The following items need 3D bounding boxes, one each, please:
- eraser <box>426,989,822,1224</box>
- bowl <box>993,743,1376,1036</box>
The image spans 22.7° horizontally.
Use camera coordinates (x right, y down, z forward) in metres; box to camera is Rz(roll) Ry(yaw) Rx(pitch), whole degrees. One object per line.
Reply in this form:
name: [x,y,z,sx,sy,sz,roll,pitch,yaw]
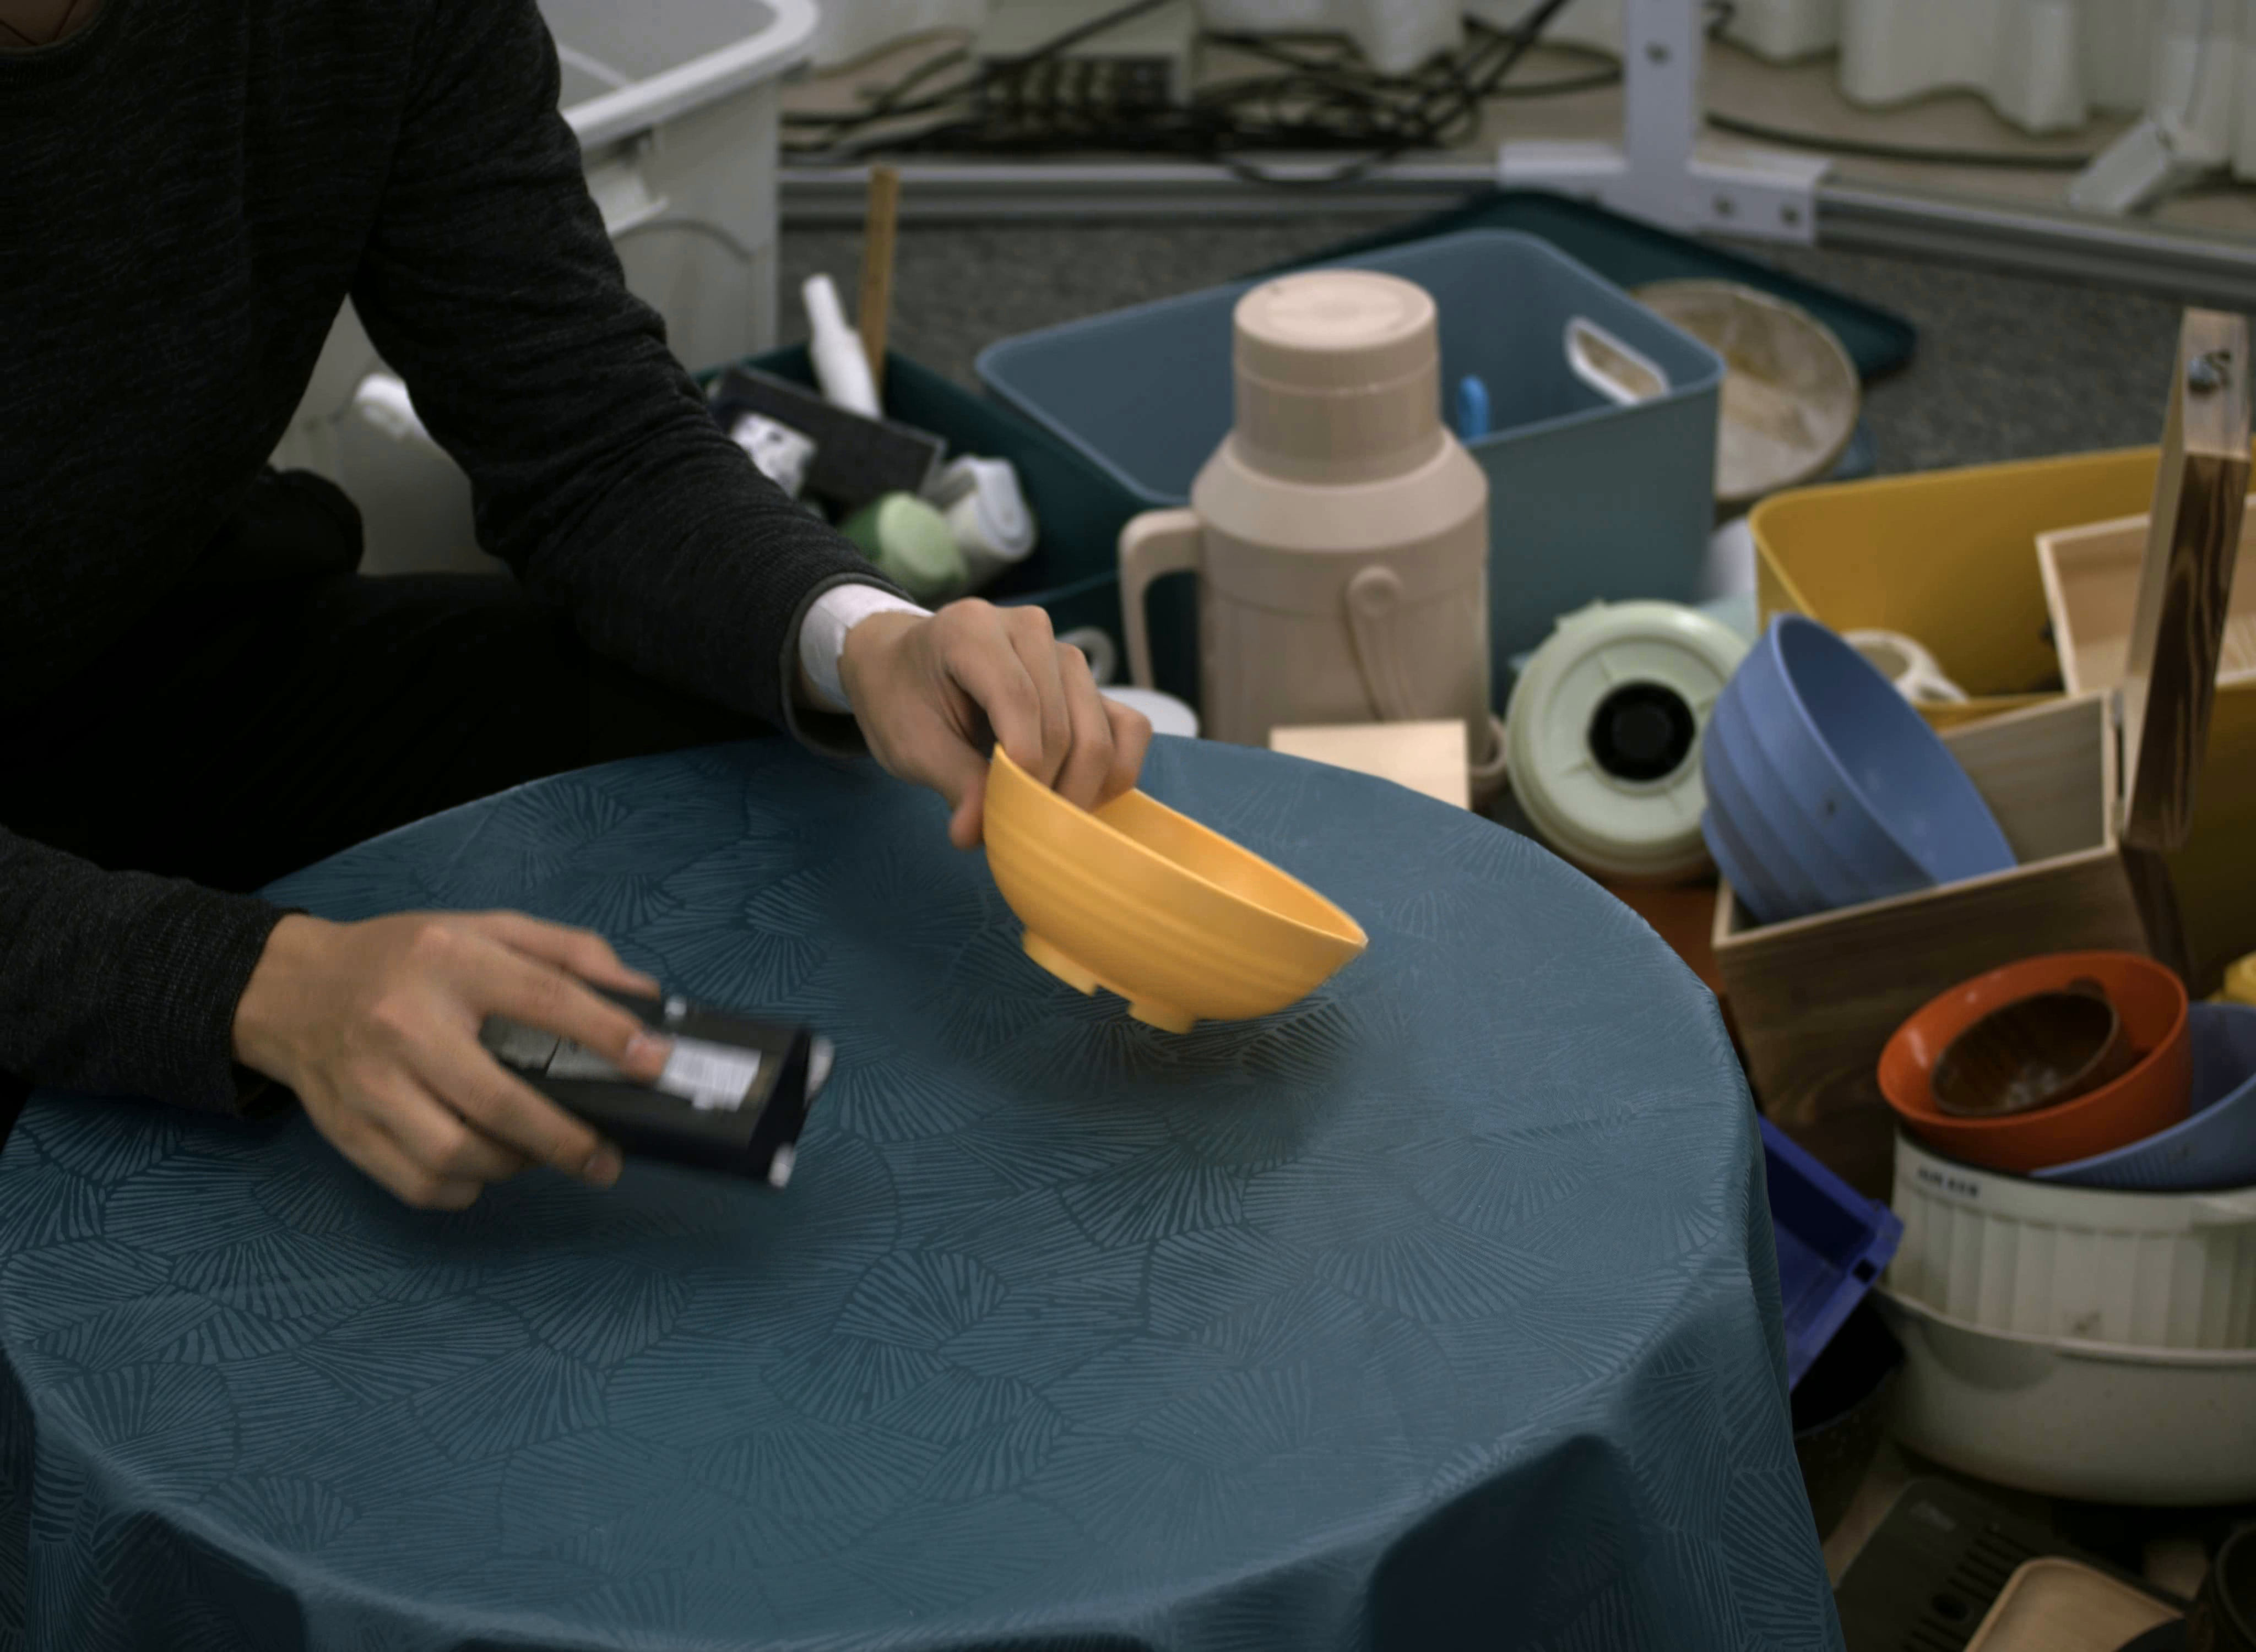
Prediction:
eraser: [-0.164,0.091,1.838,0.125,0.030,0.054,12,56,25]
bowl: [0.009,0.030,1.928,0.145,0.060,0.146,26,9,-3]
